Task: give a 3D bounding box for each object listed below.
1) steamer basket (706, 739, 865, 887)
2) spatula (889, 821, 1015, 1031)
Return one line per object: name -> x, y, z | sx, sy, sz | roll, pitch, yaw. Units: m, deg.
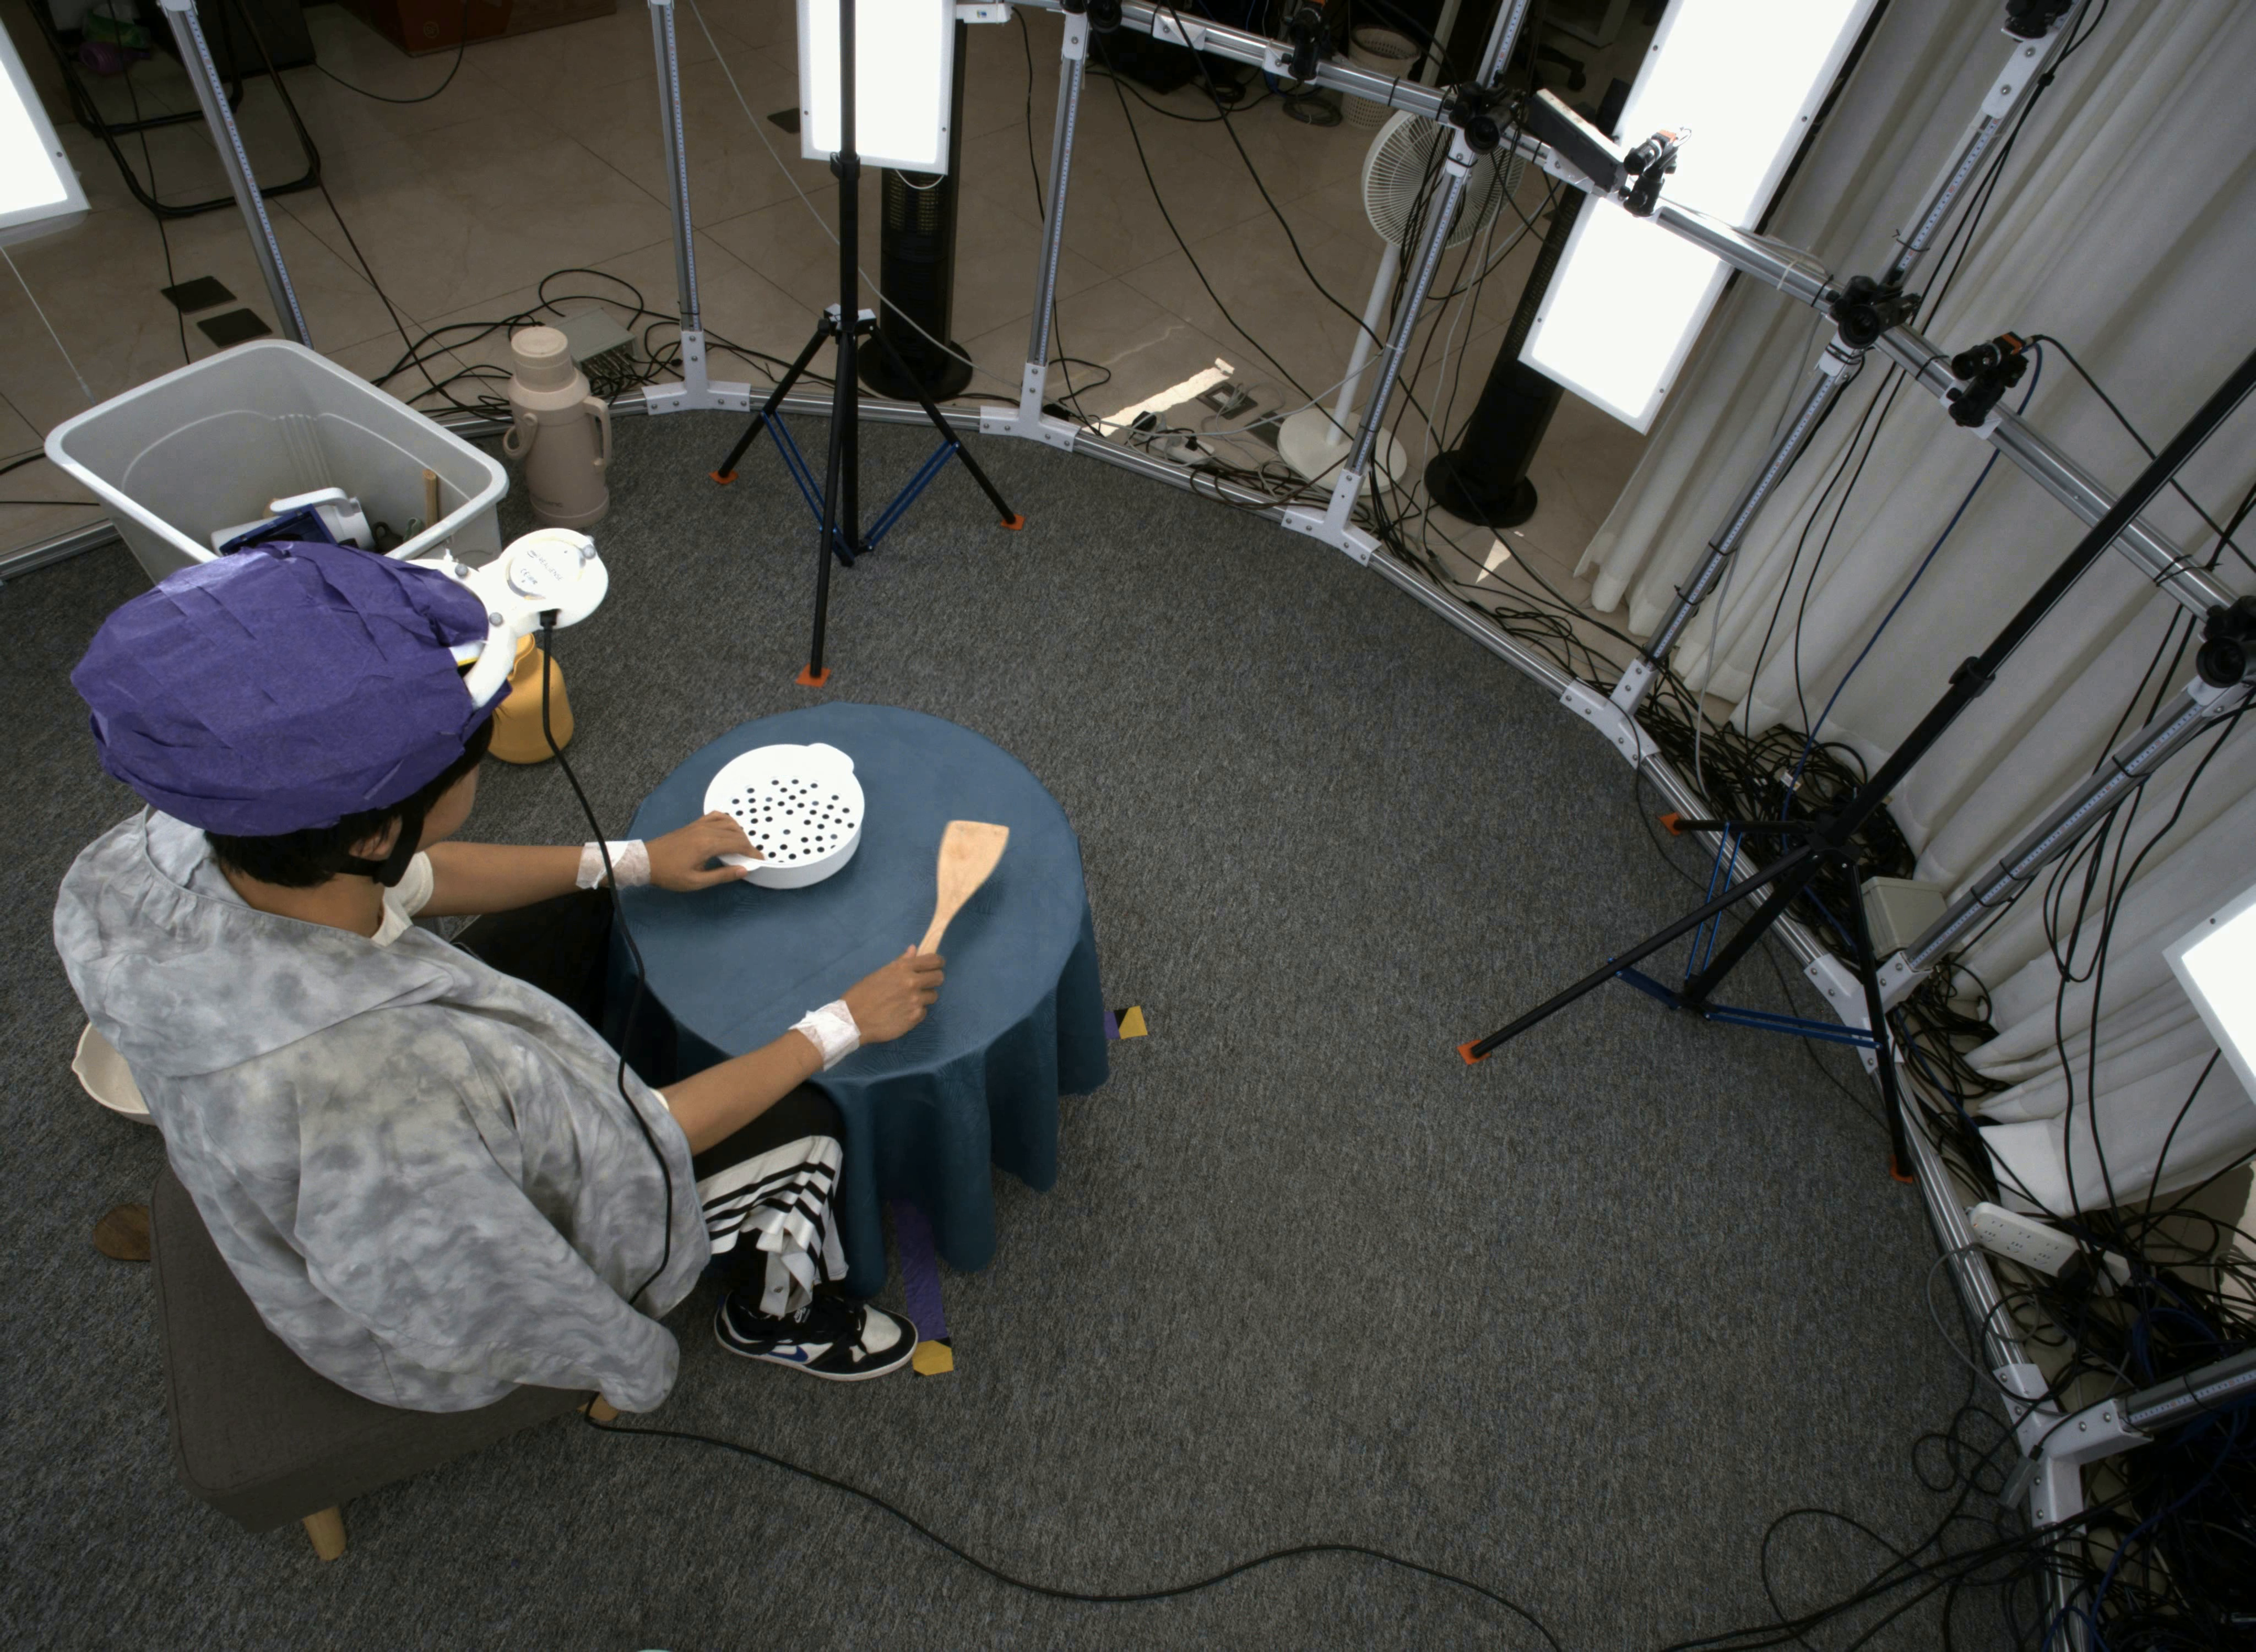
steamer basket -> -0.443, -0.015, 1.690 | 0.198, 0.071, 0.229 | 27, 53, 9
spatula -> -0.226, 0.114, 1.609 | 0.079, 0.017, 0.324 | 18, 50, 2
